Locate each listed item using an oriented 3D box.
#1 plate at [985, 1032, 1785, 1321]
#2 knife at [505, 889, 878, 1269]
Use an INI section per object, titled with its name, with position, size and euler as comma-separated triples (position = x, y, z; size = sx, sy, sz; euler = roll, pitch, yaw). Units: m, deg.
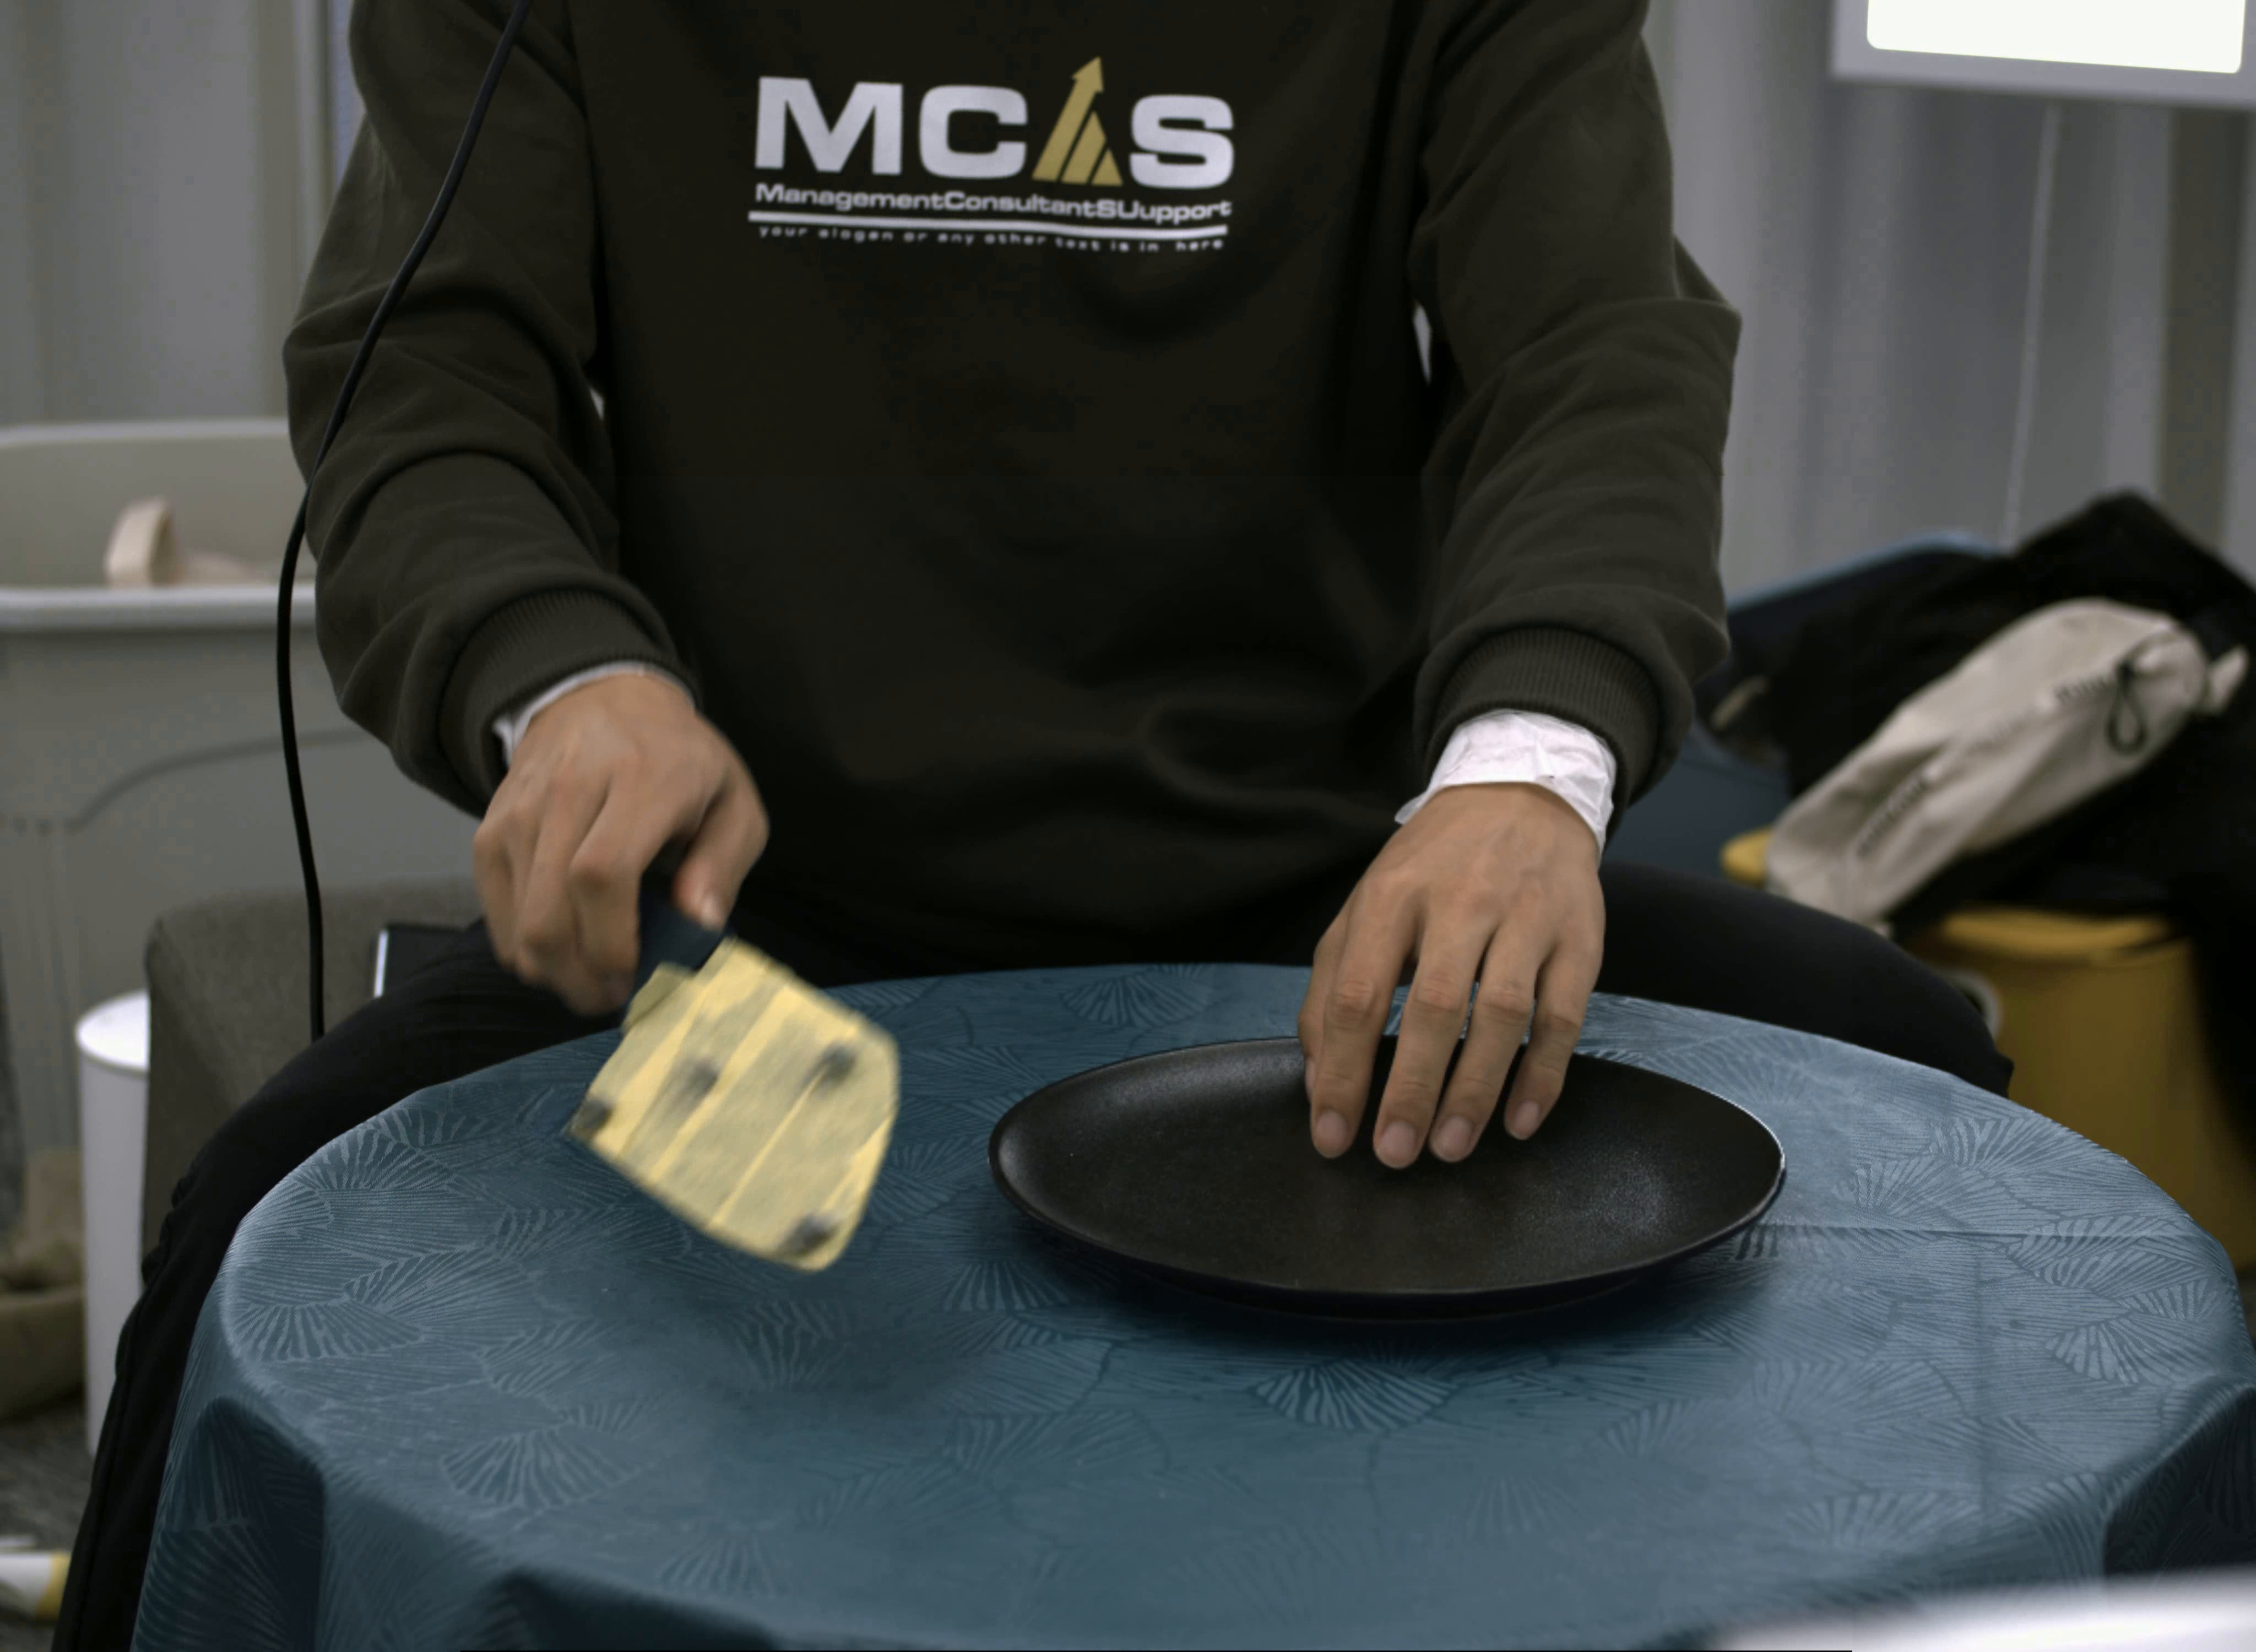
[plate]
position = 0.077, 0.108, 1.598
size = 0.243, 0.023, 0.243
euler = 1, 15, 0
[knife]
position = -0.138, 0.071, 1.548
size = 0.081, 0.027, 0.286
euler = -48, 28, -5
